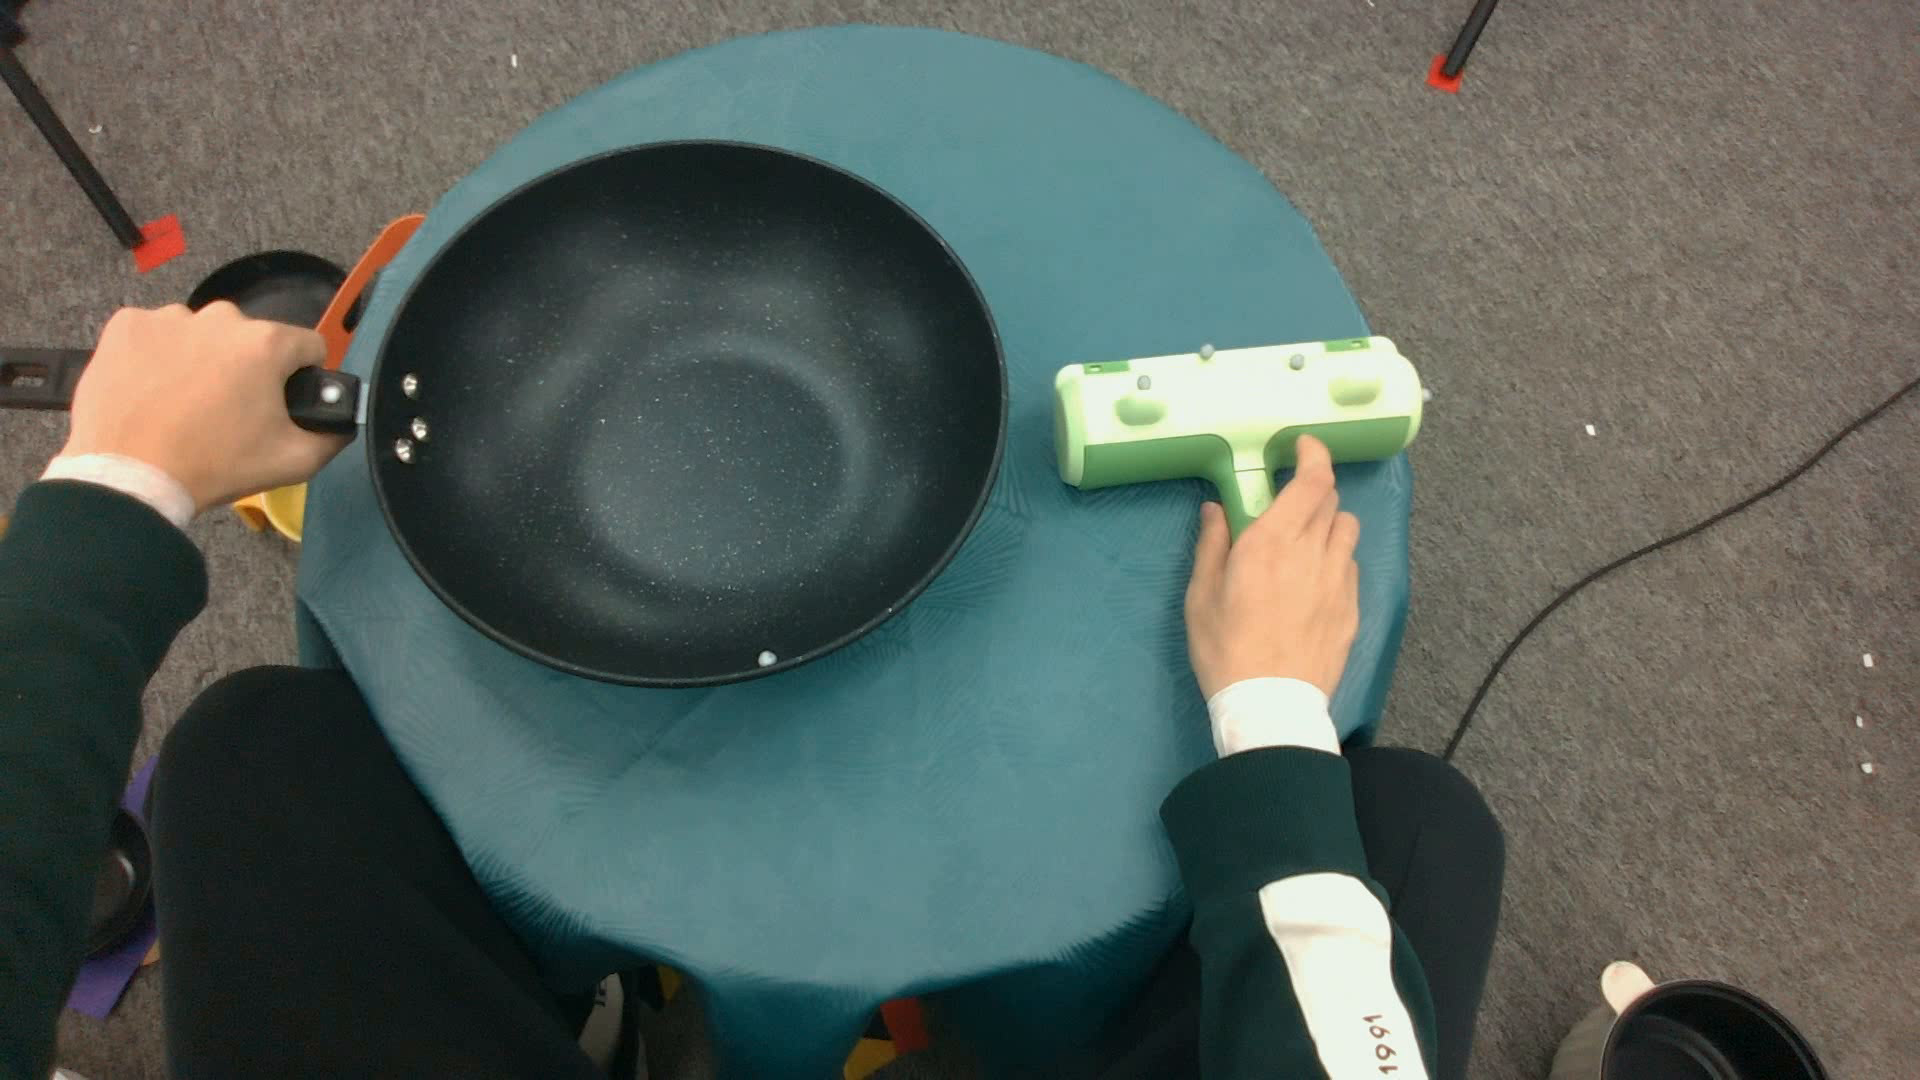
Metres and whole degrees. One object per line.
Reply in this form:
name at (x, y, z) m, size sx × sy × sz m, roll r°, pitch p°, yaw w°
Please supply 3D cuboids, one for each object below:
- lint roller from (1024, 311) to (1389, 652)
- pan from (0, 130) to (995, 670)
lint roller at (0.144, -0.038, 0.724) m, size 0.199 × 0.082 × 0.184 m, roll -7°, pitch 62°, yaw -7°
pan at (-0.222, -0.065, 0.692) m, size 0.477 × 0.111 × 0.311 m, roll -4°, pitch 64°, yaw -7°
